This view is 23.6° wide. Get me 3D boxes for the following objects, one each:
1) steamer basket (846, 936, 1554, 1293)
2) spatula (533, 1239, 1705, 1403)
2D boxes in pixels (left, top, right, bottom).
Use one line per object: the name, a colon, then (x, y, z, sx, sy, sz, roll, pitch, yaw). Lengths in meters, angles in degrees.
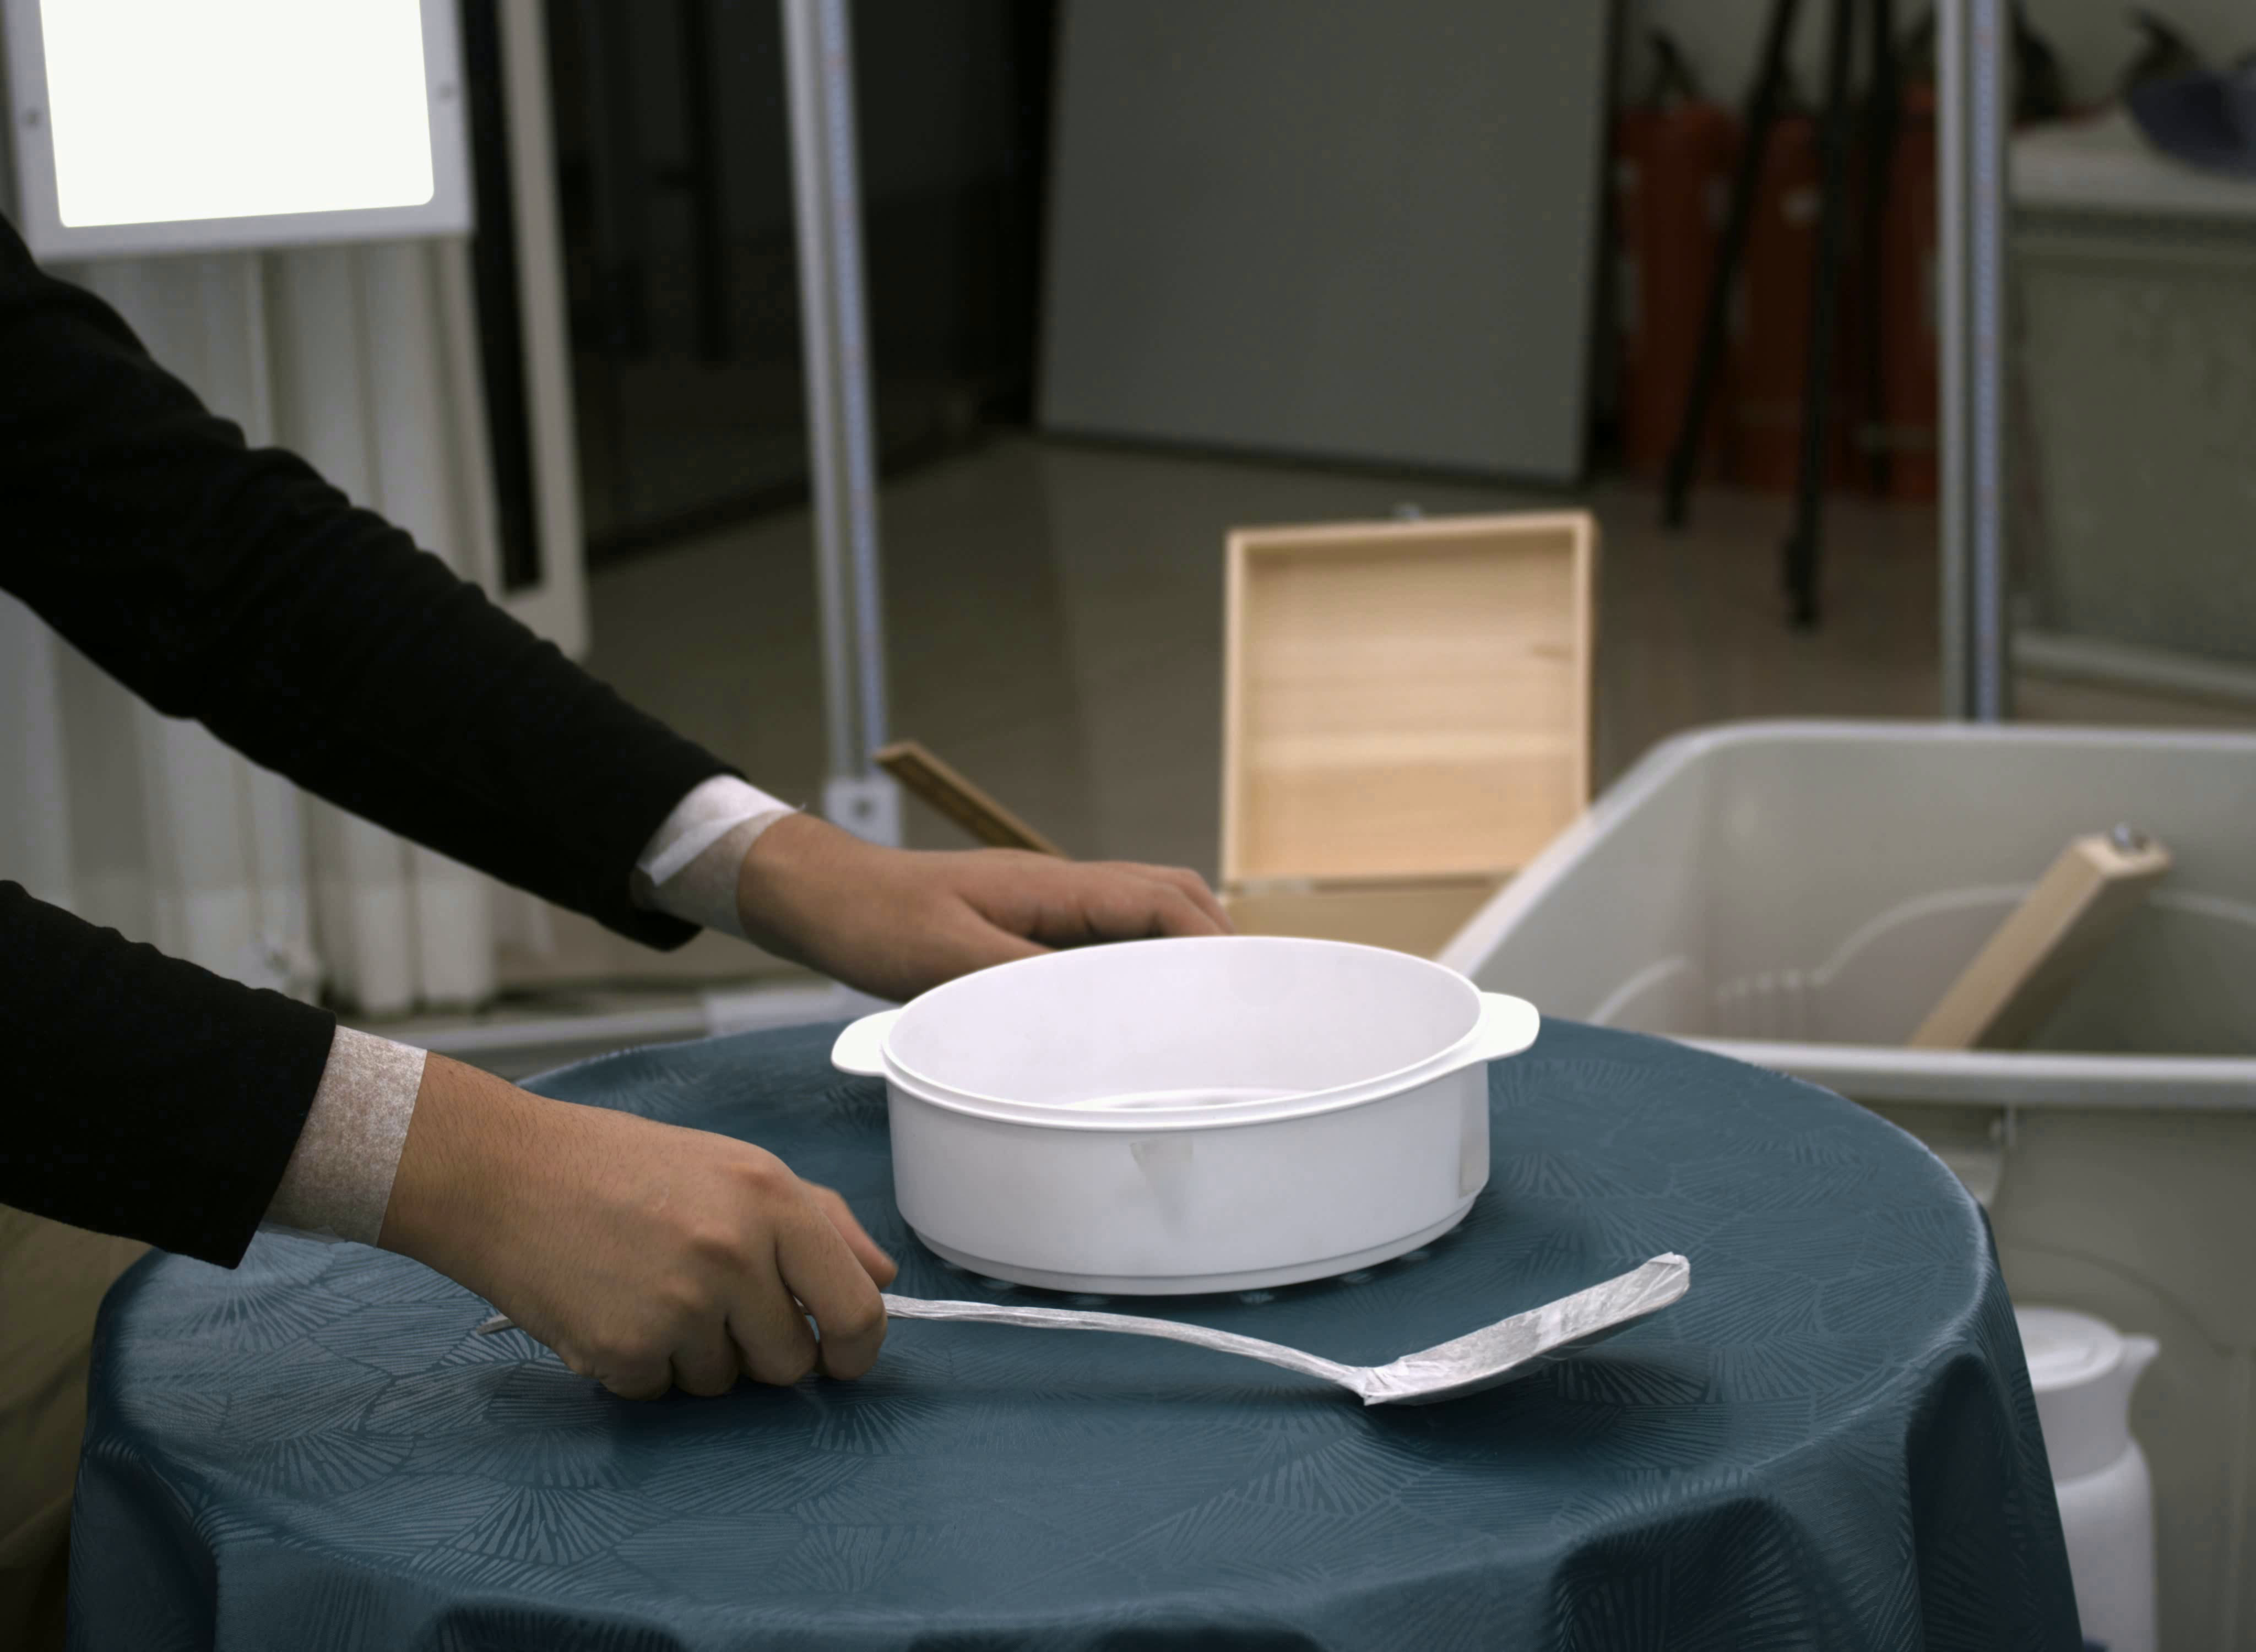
steamer basket: (0.025, 0.092, 1.732, 0.229, 0.070, 0.201, -3, 13, 9)
spatula: (-0.011, 0.142, 1.589, 0.363, 0.045, 0.098, 2, 9, 16)
